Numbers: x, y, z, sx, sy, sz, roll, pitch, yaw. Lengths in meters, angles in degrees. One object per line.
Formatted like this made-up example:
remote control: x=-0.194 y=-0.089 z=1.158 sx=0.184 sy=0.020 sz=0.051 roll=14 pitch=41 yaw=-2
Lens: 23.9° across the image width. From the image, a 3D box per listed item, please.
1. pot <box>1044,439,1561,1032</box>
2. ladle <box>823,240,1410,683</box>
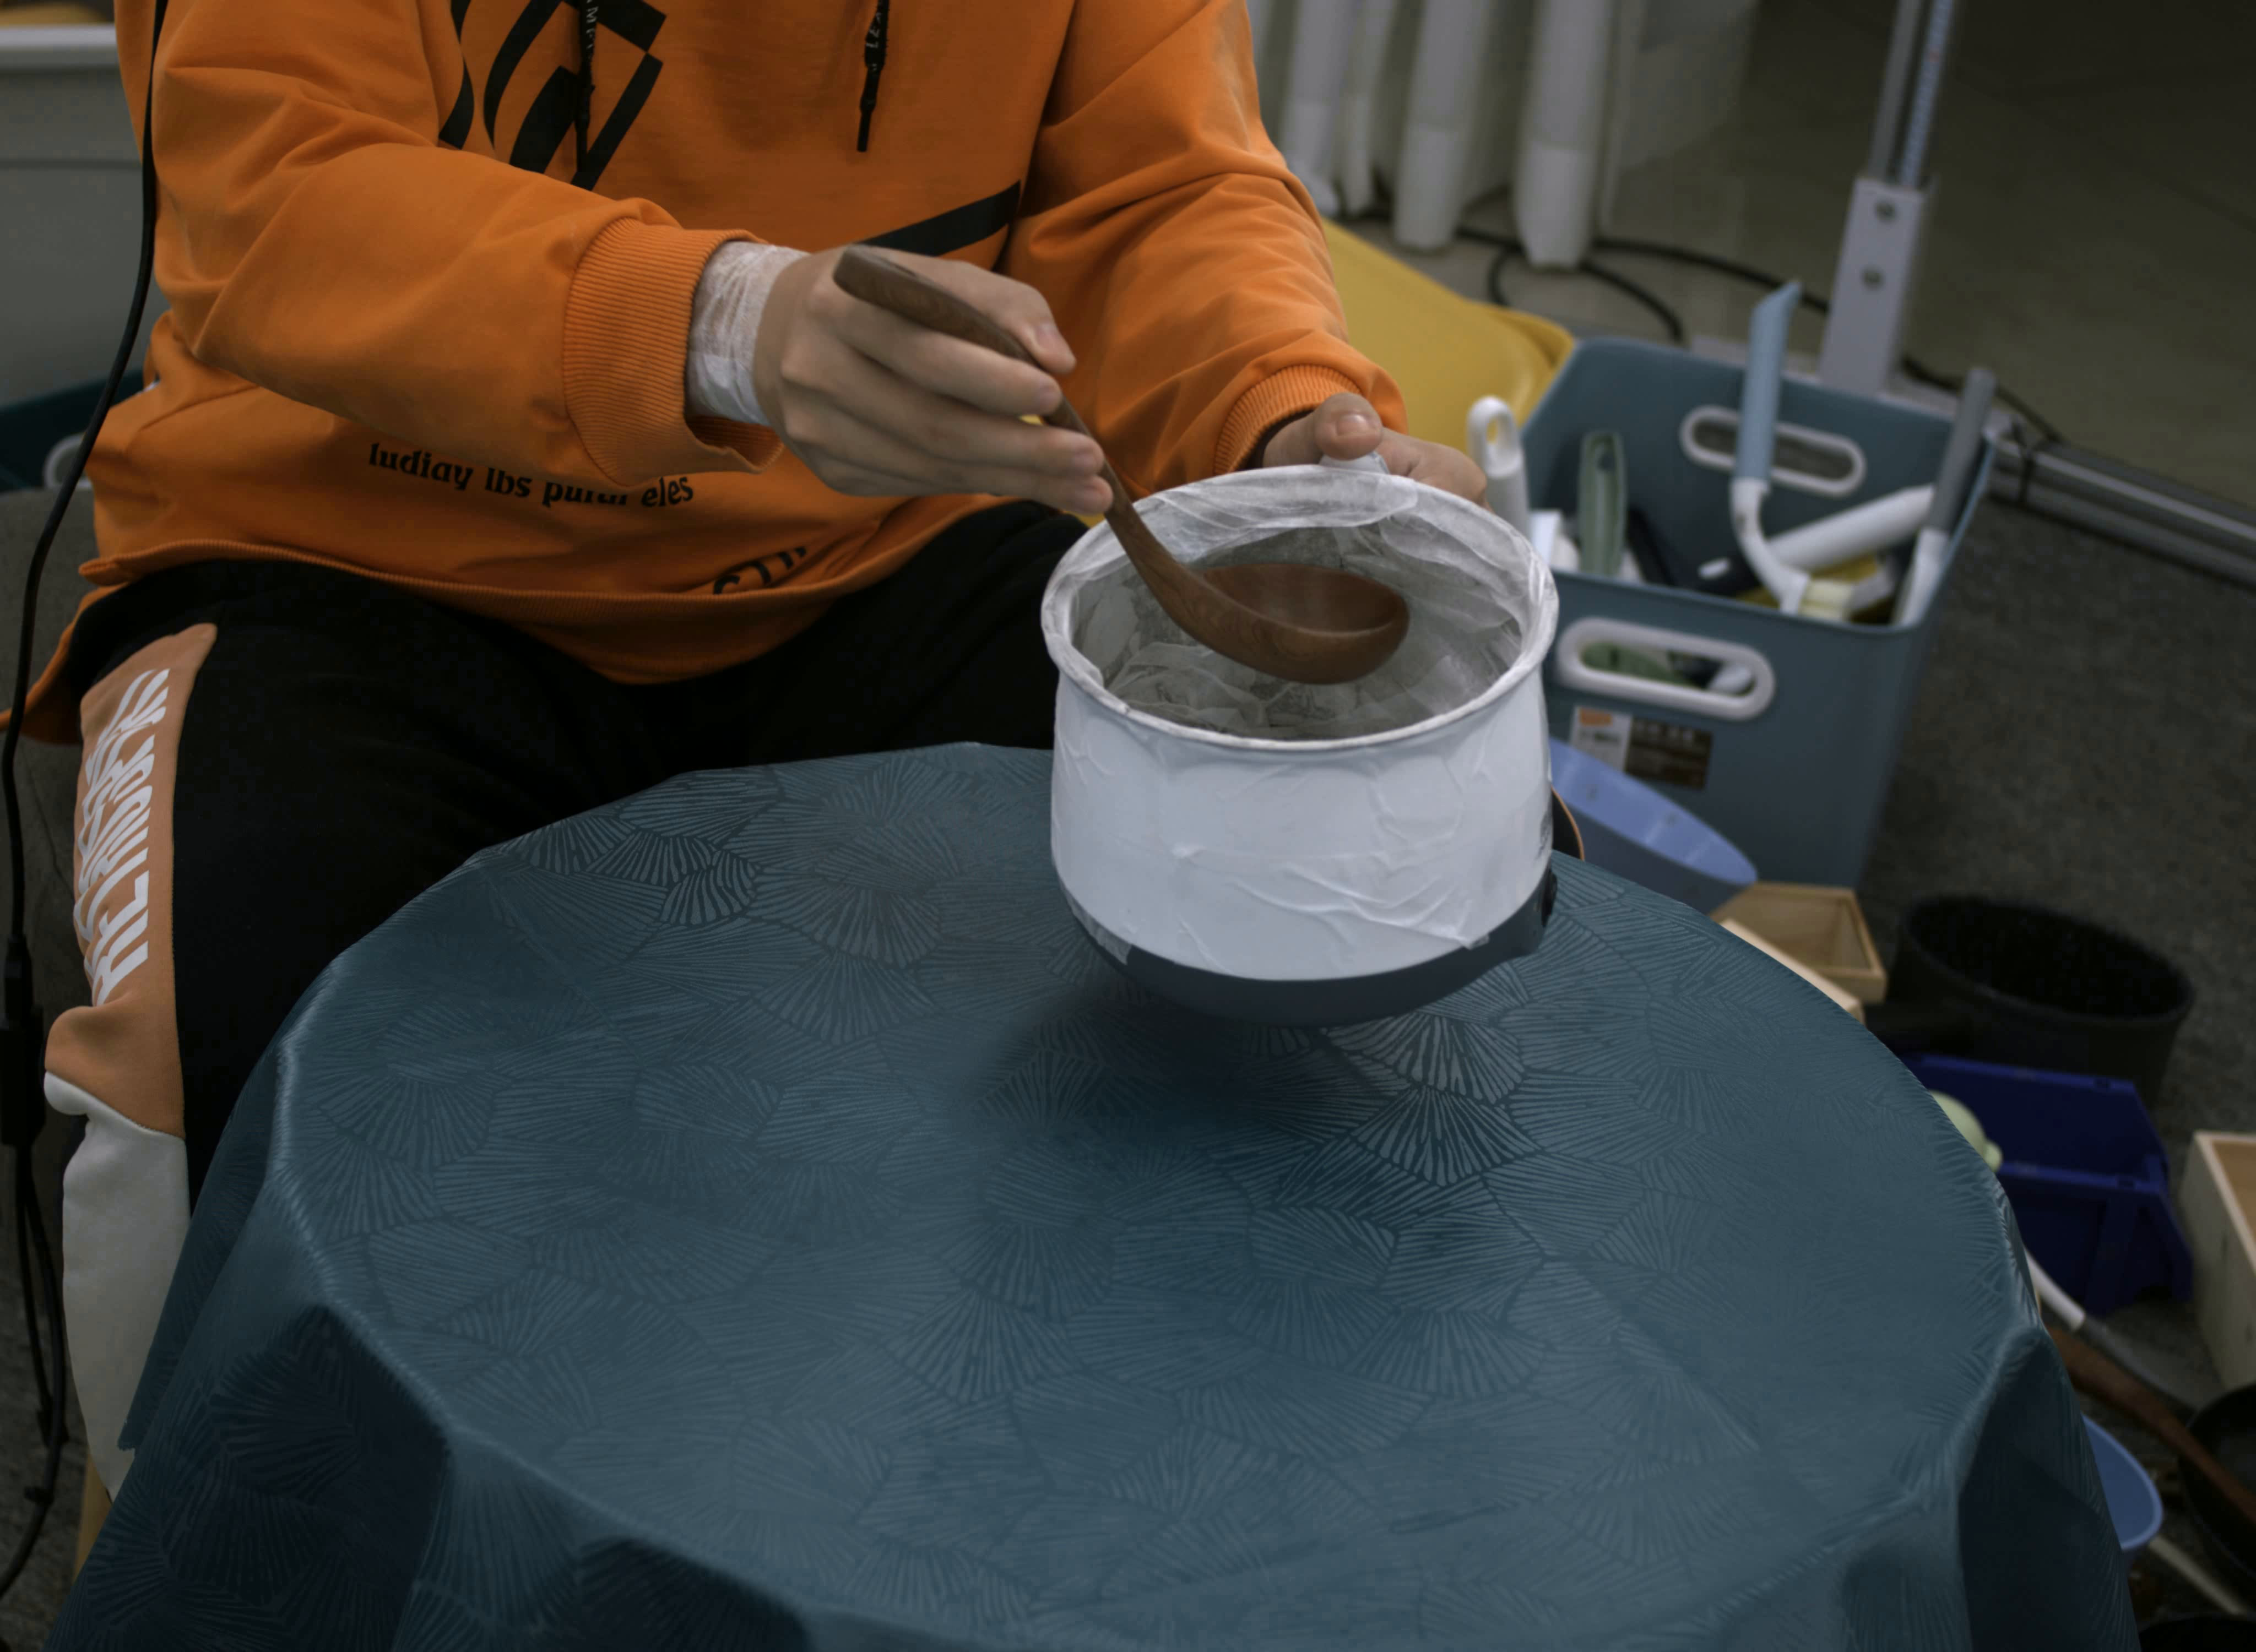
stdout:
pot: x=0.066 y=-0.040 z=1.874 sx=0.178 sy=0.136 sz=0.235 roll=5 pitch=36 yaw=9
ladle: x=-0.001 y=-0.131 z=1.804 sx=0.258 sy=0.065 sz=0.077 roll=44 pitch=-5 yaw=-32
